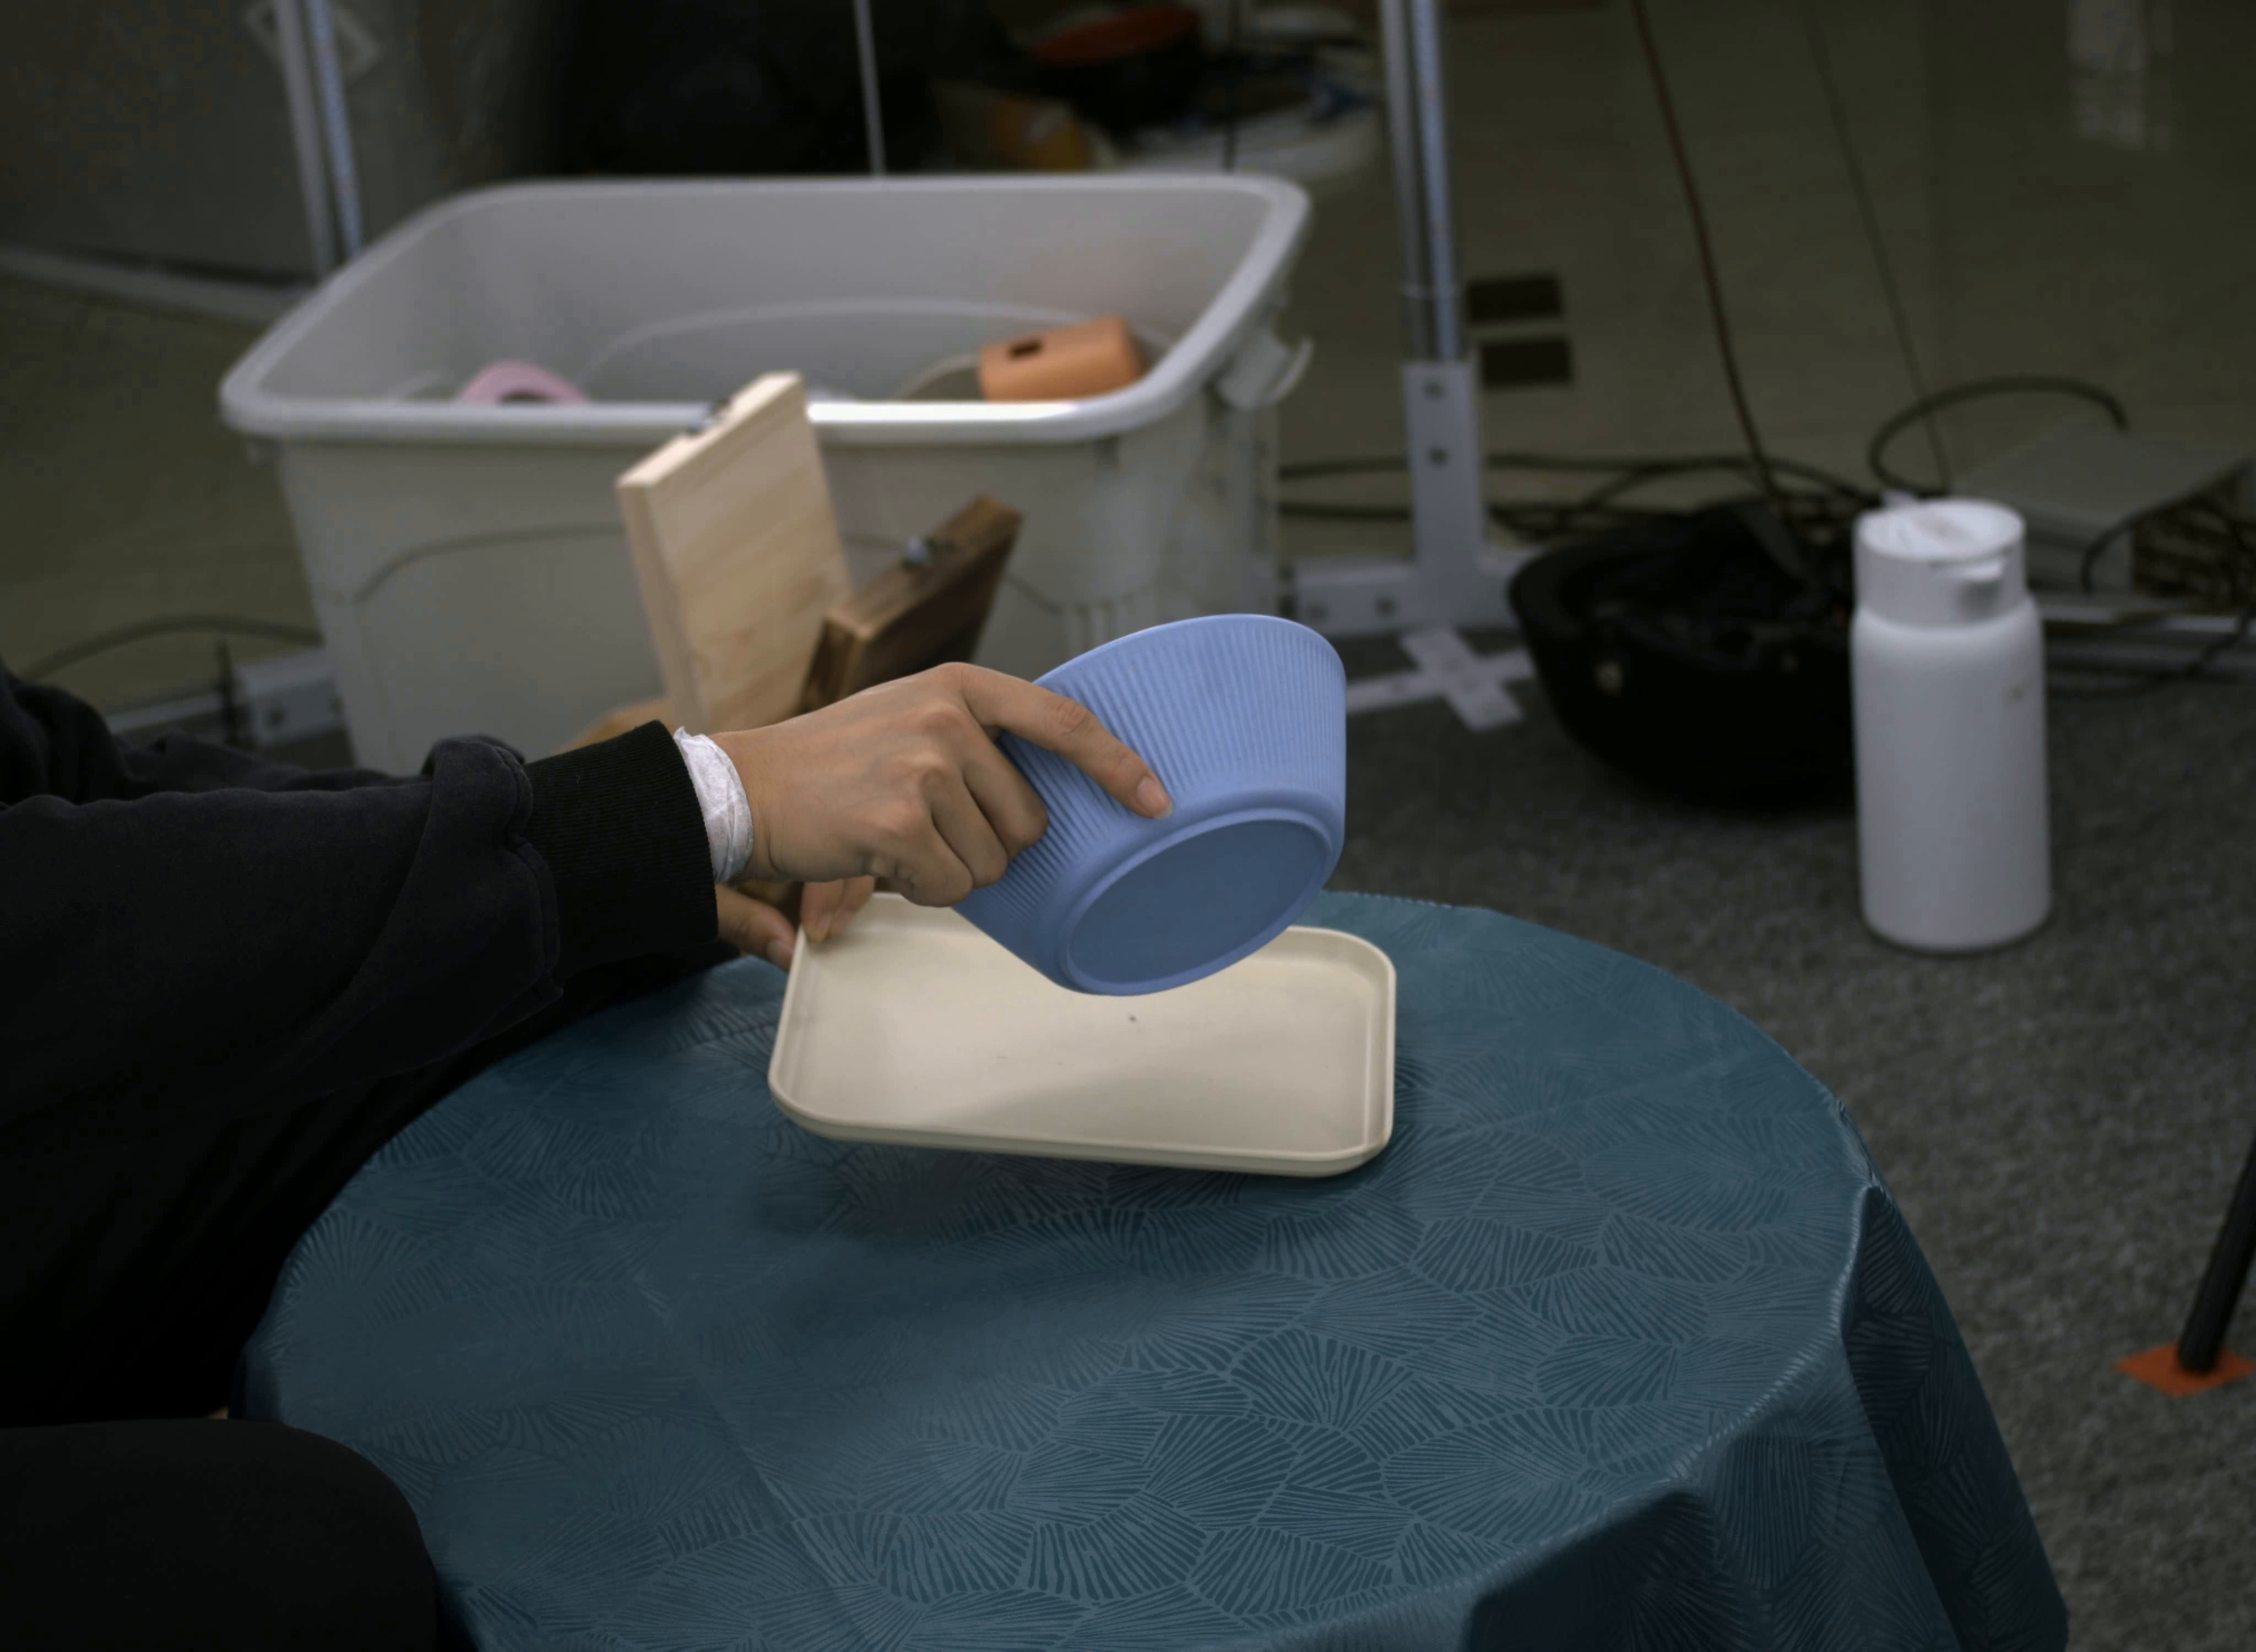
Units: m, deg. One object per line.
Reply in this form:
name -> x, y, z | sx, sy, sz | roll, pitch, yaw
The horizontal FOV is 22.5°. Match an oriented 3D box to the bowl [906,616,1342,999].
bowl -> 0.011, 0.004, 2.077 | 0.175, 0.179, 0.069 | -15, 60, -19

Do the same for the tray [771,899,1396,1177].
tray -> -0.015, 0.083, 2.205 | 0.239, 0.018, 0.168 | 5, 29, 1
